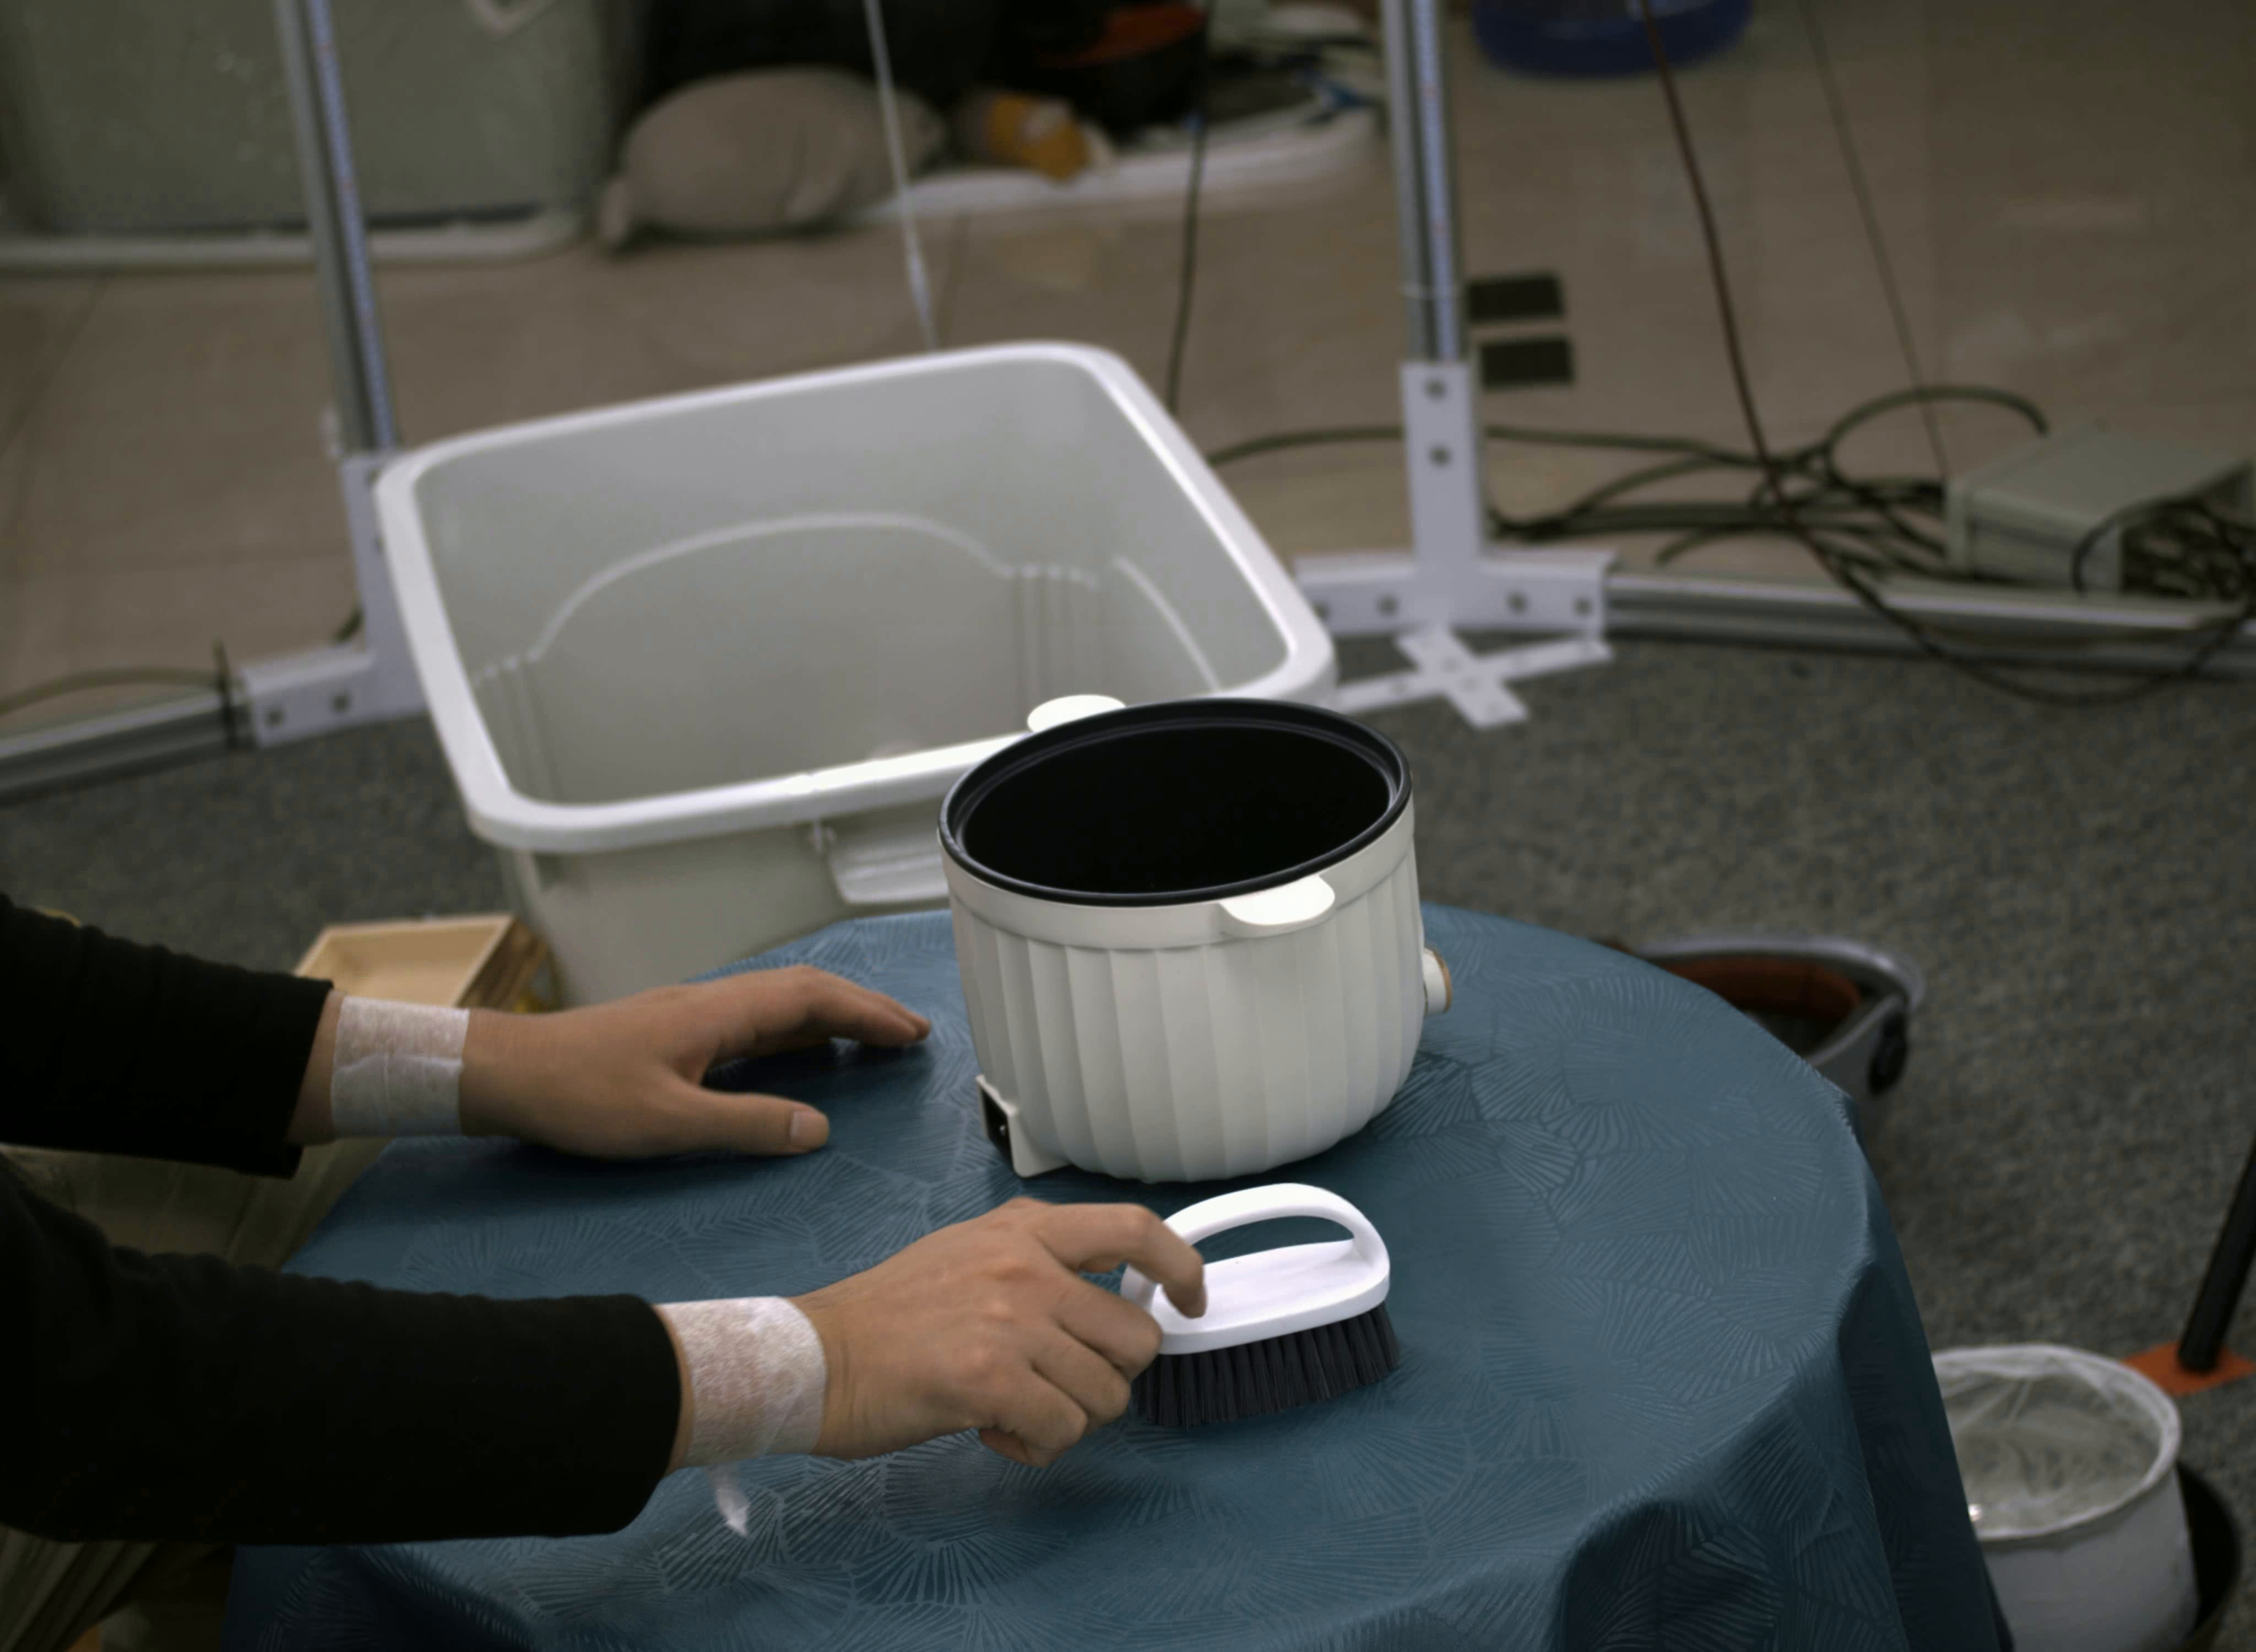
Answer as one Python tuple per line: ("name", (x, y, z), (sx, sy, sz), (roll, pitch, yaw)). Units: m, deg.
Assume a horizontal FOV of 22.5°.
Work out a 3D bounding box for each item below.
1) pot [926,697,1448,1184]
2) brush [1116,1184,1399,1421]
("pot", (0.027, 0.046, 2.174), (0.190, 0.145, 0.237), (-18, 29, -17))
("brush", (0.044, 0.162, 1.999), (0.099, 0.074, 0.049), (-11, 27, -9))
